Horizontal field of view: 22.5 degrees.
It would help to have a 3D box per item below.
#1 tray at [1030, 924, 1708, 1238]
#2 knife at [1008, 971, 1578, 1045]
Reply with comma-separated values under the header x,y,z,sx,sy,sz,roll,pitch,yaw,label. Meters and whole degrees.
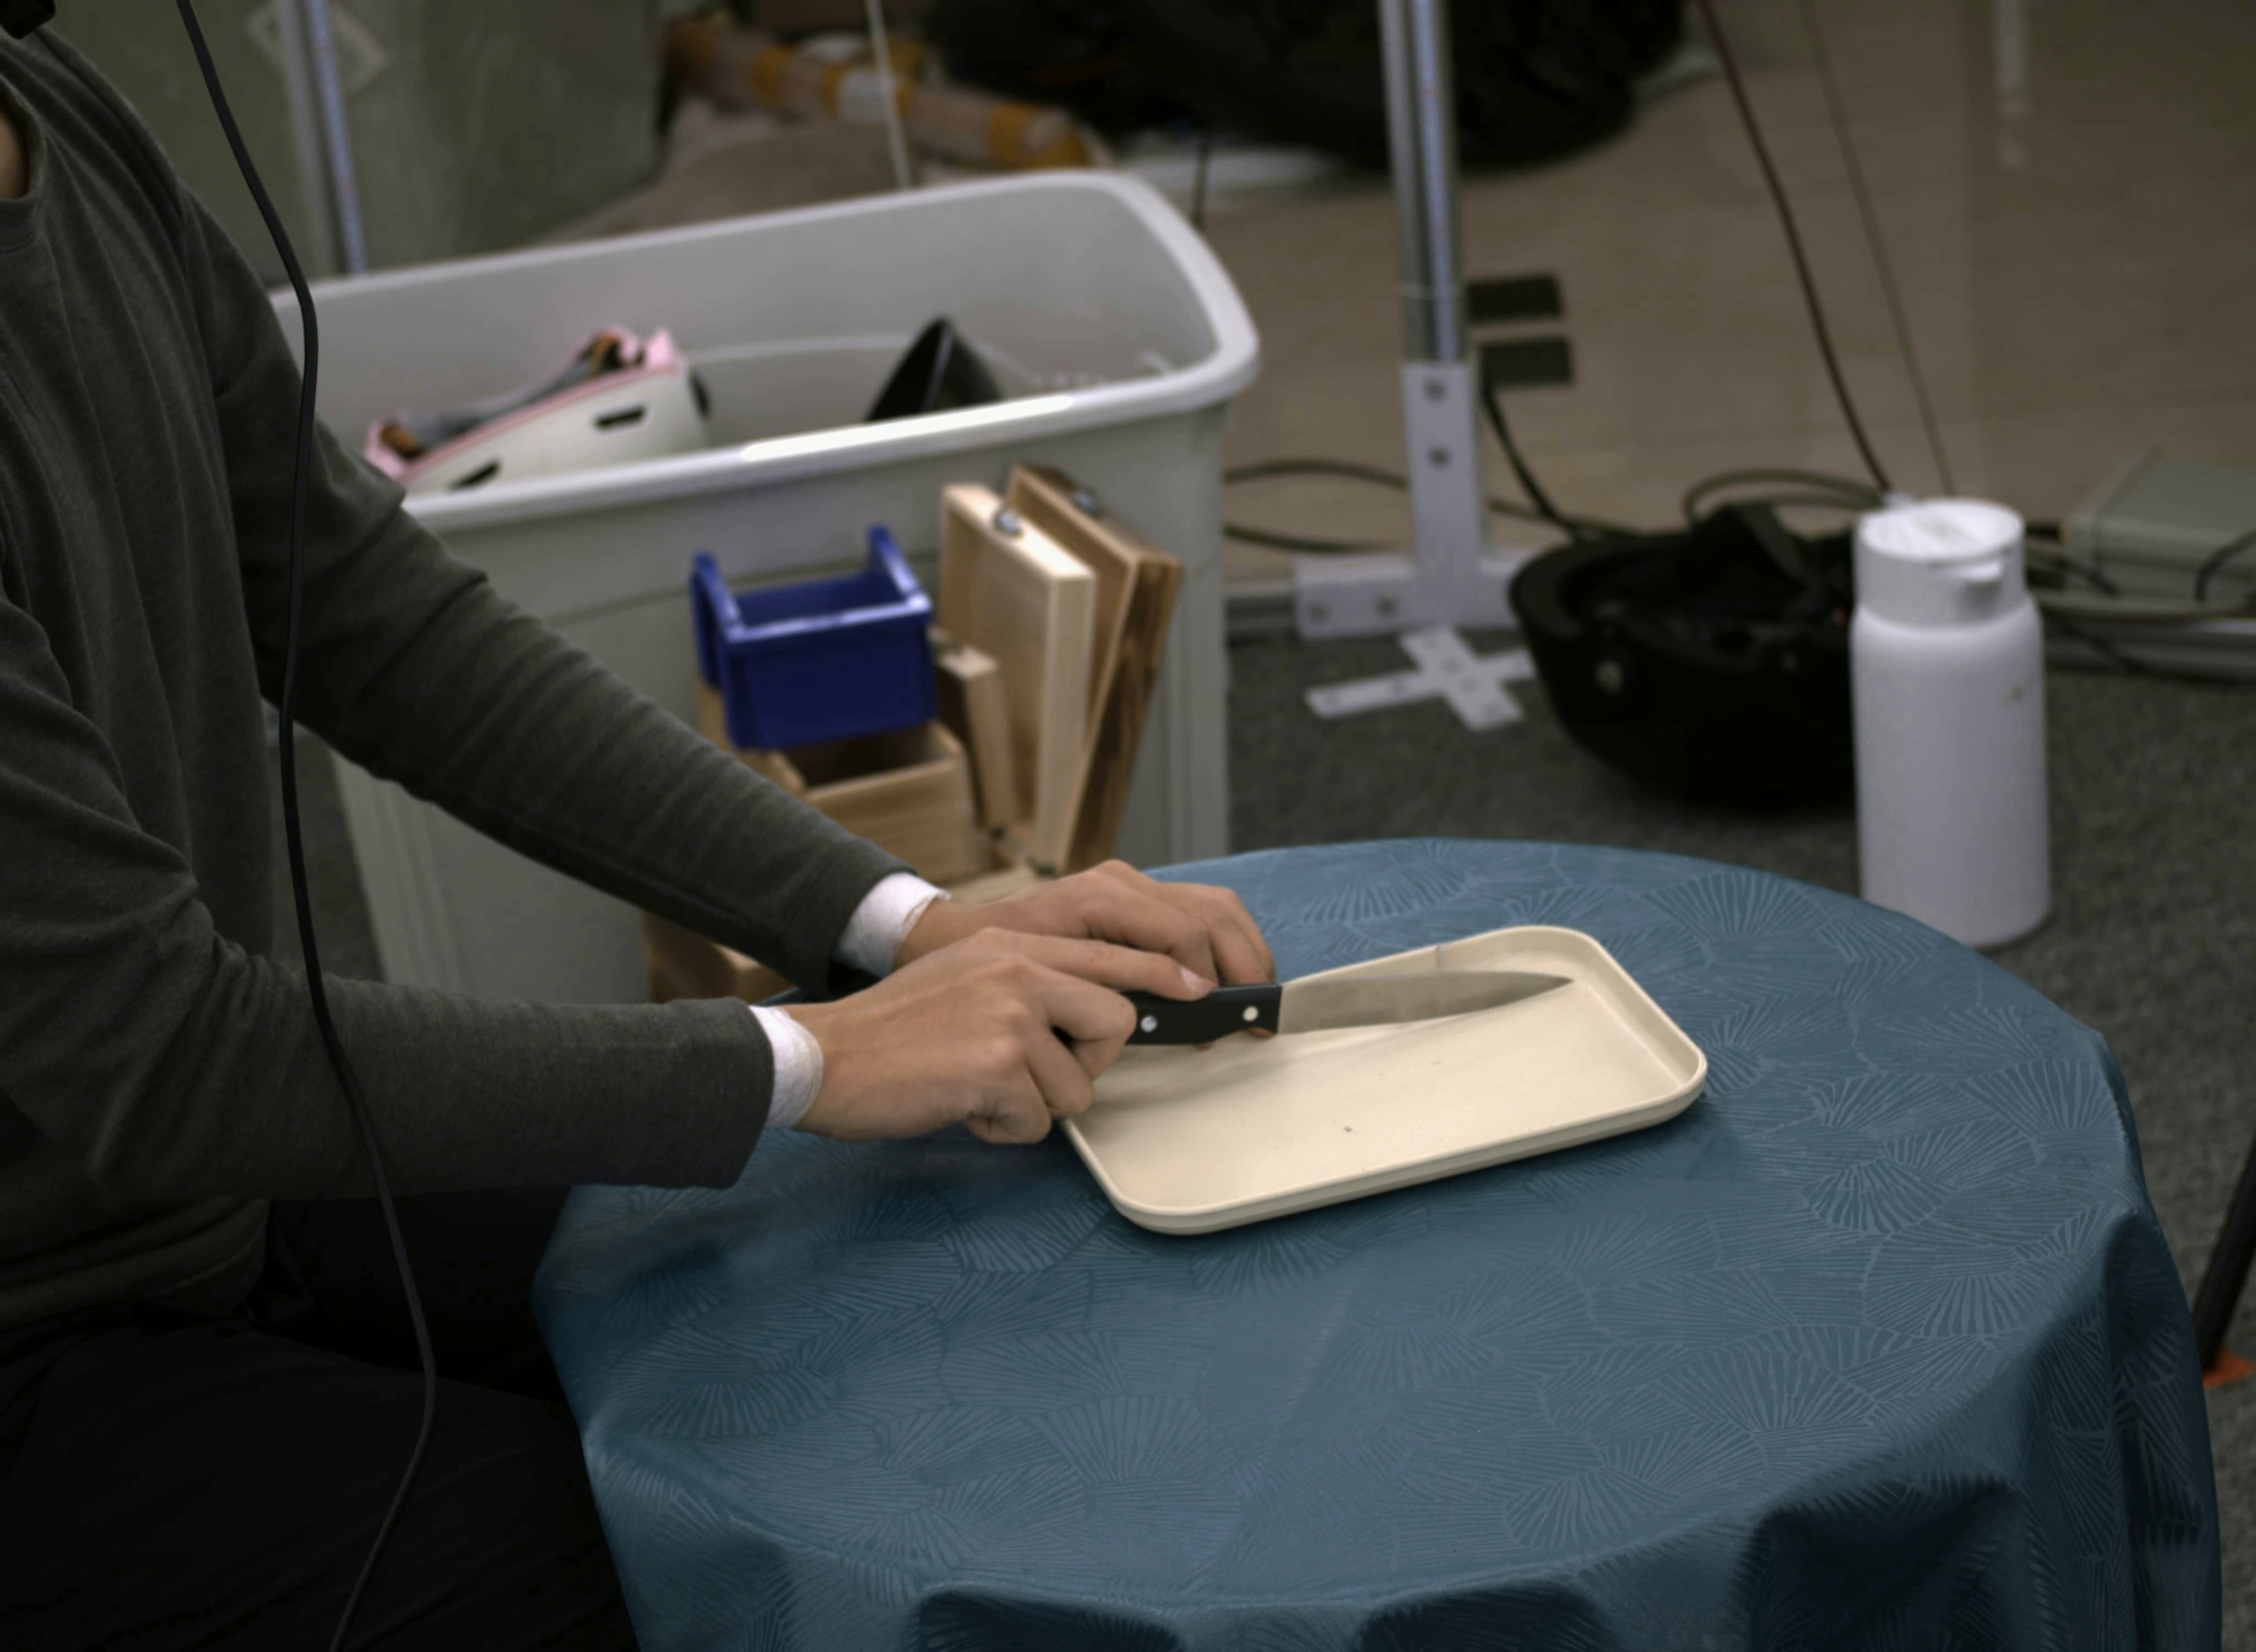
x,y,z,sx,sy,sz,roll,pitch,yaw,label
0.092,0.099,2.195,0.239,0.018,0.169,-13,26,-12,tray
0.067,0.069,2.222,0.238,0.025,0.016,-3,24,-18,knife
